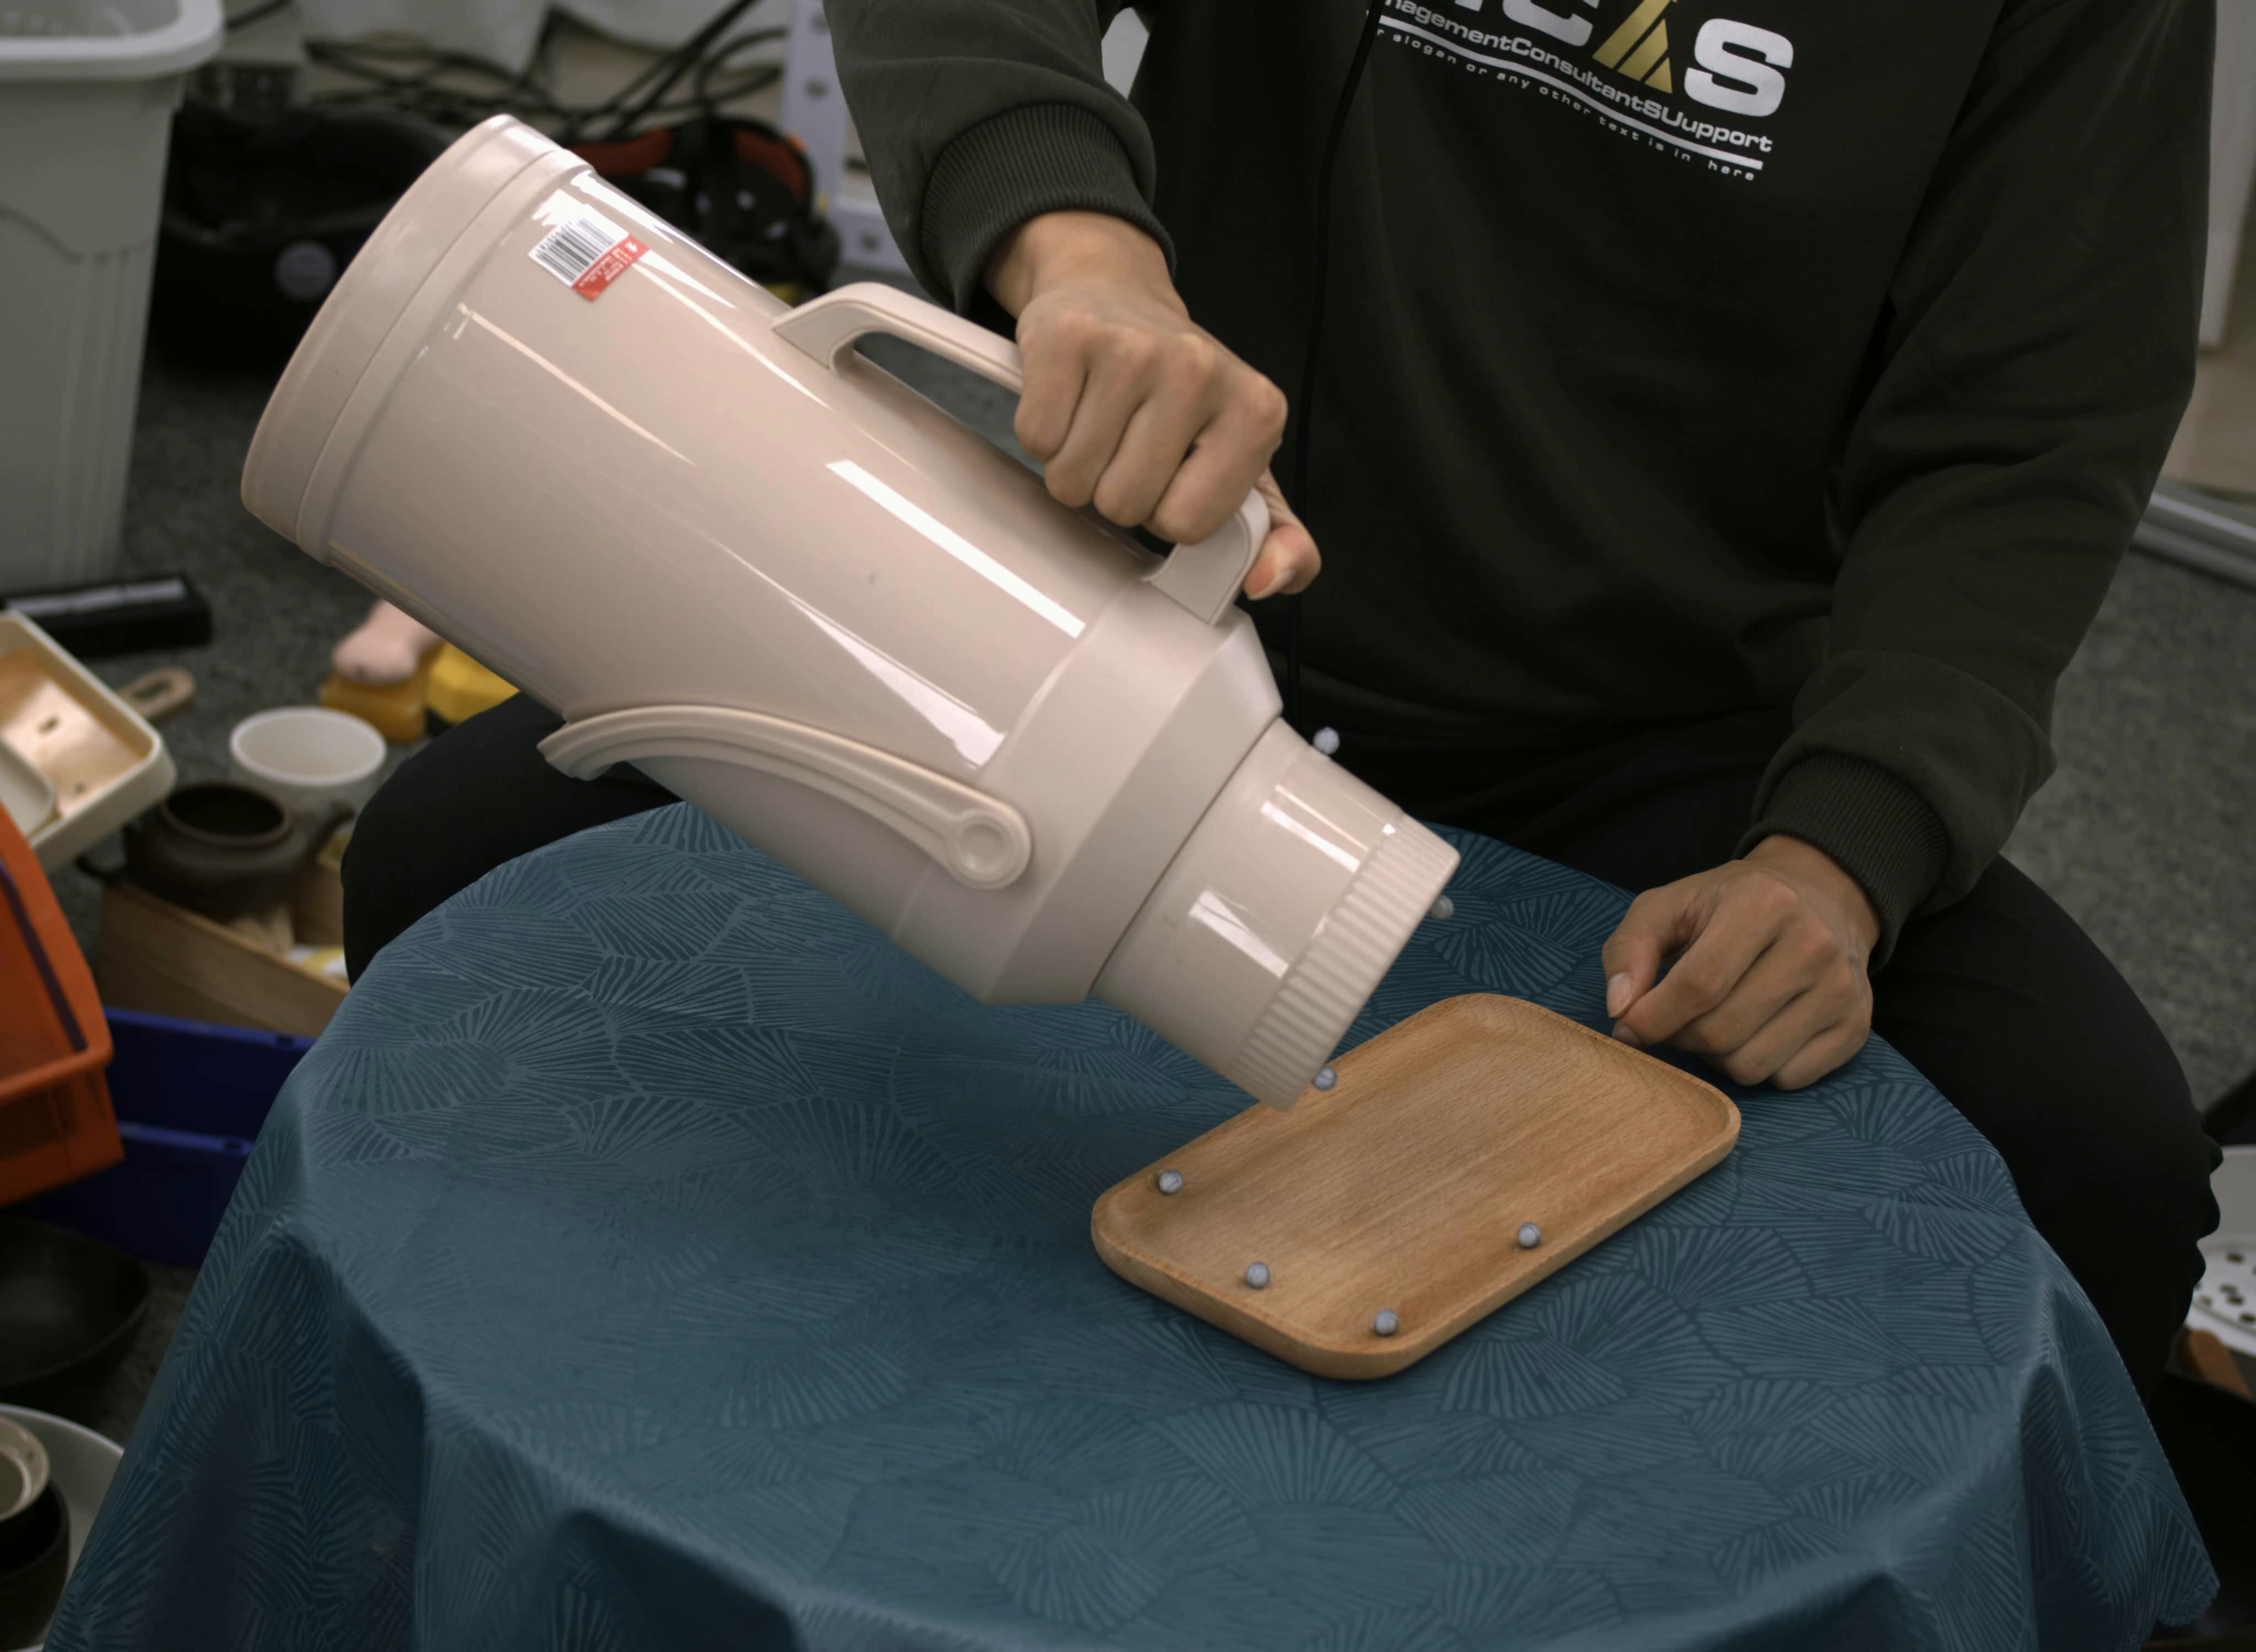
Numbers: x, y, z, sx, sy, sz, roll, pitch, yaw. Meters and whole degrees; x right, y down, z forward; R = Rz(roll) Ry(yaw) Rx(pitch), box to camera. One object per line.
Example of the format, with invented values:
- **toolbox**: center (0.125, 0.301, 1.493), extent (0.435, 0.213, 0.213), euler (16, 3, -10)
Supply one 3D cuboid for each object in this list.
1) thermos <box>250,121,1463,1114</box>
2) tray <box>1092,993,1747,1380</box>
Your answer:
- **thermos**: center (-0.077, -0.071, 1.760), extent (0.406, 0.207, 0.175), euler (34, 23, 5)
- **tray**: center (0.102, 0.121, 1.819), extent (0.131, 0.023, 0.250), euler (27, 32, 30)
